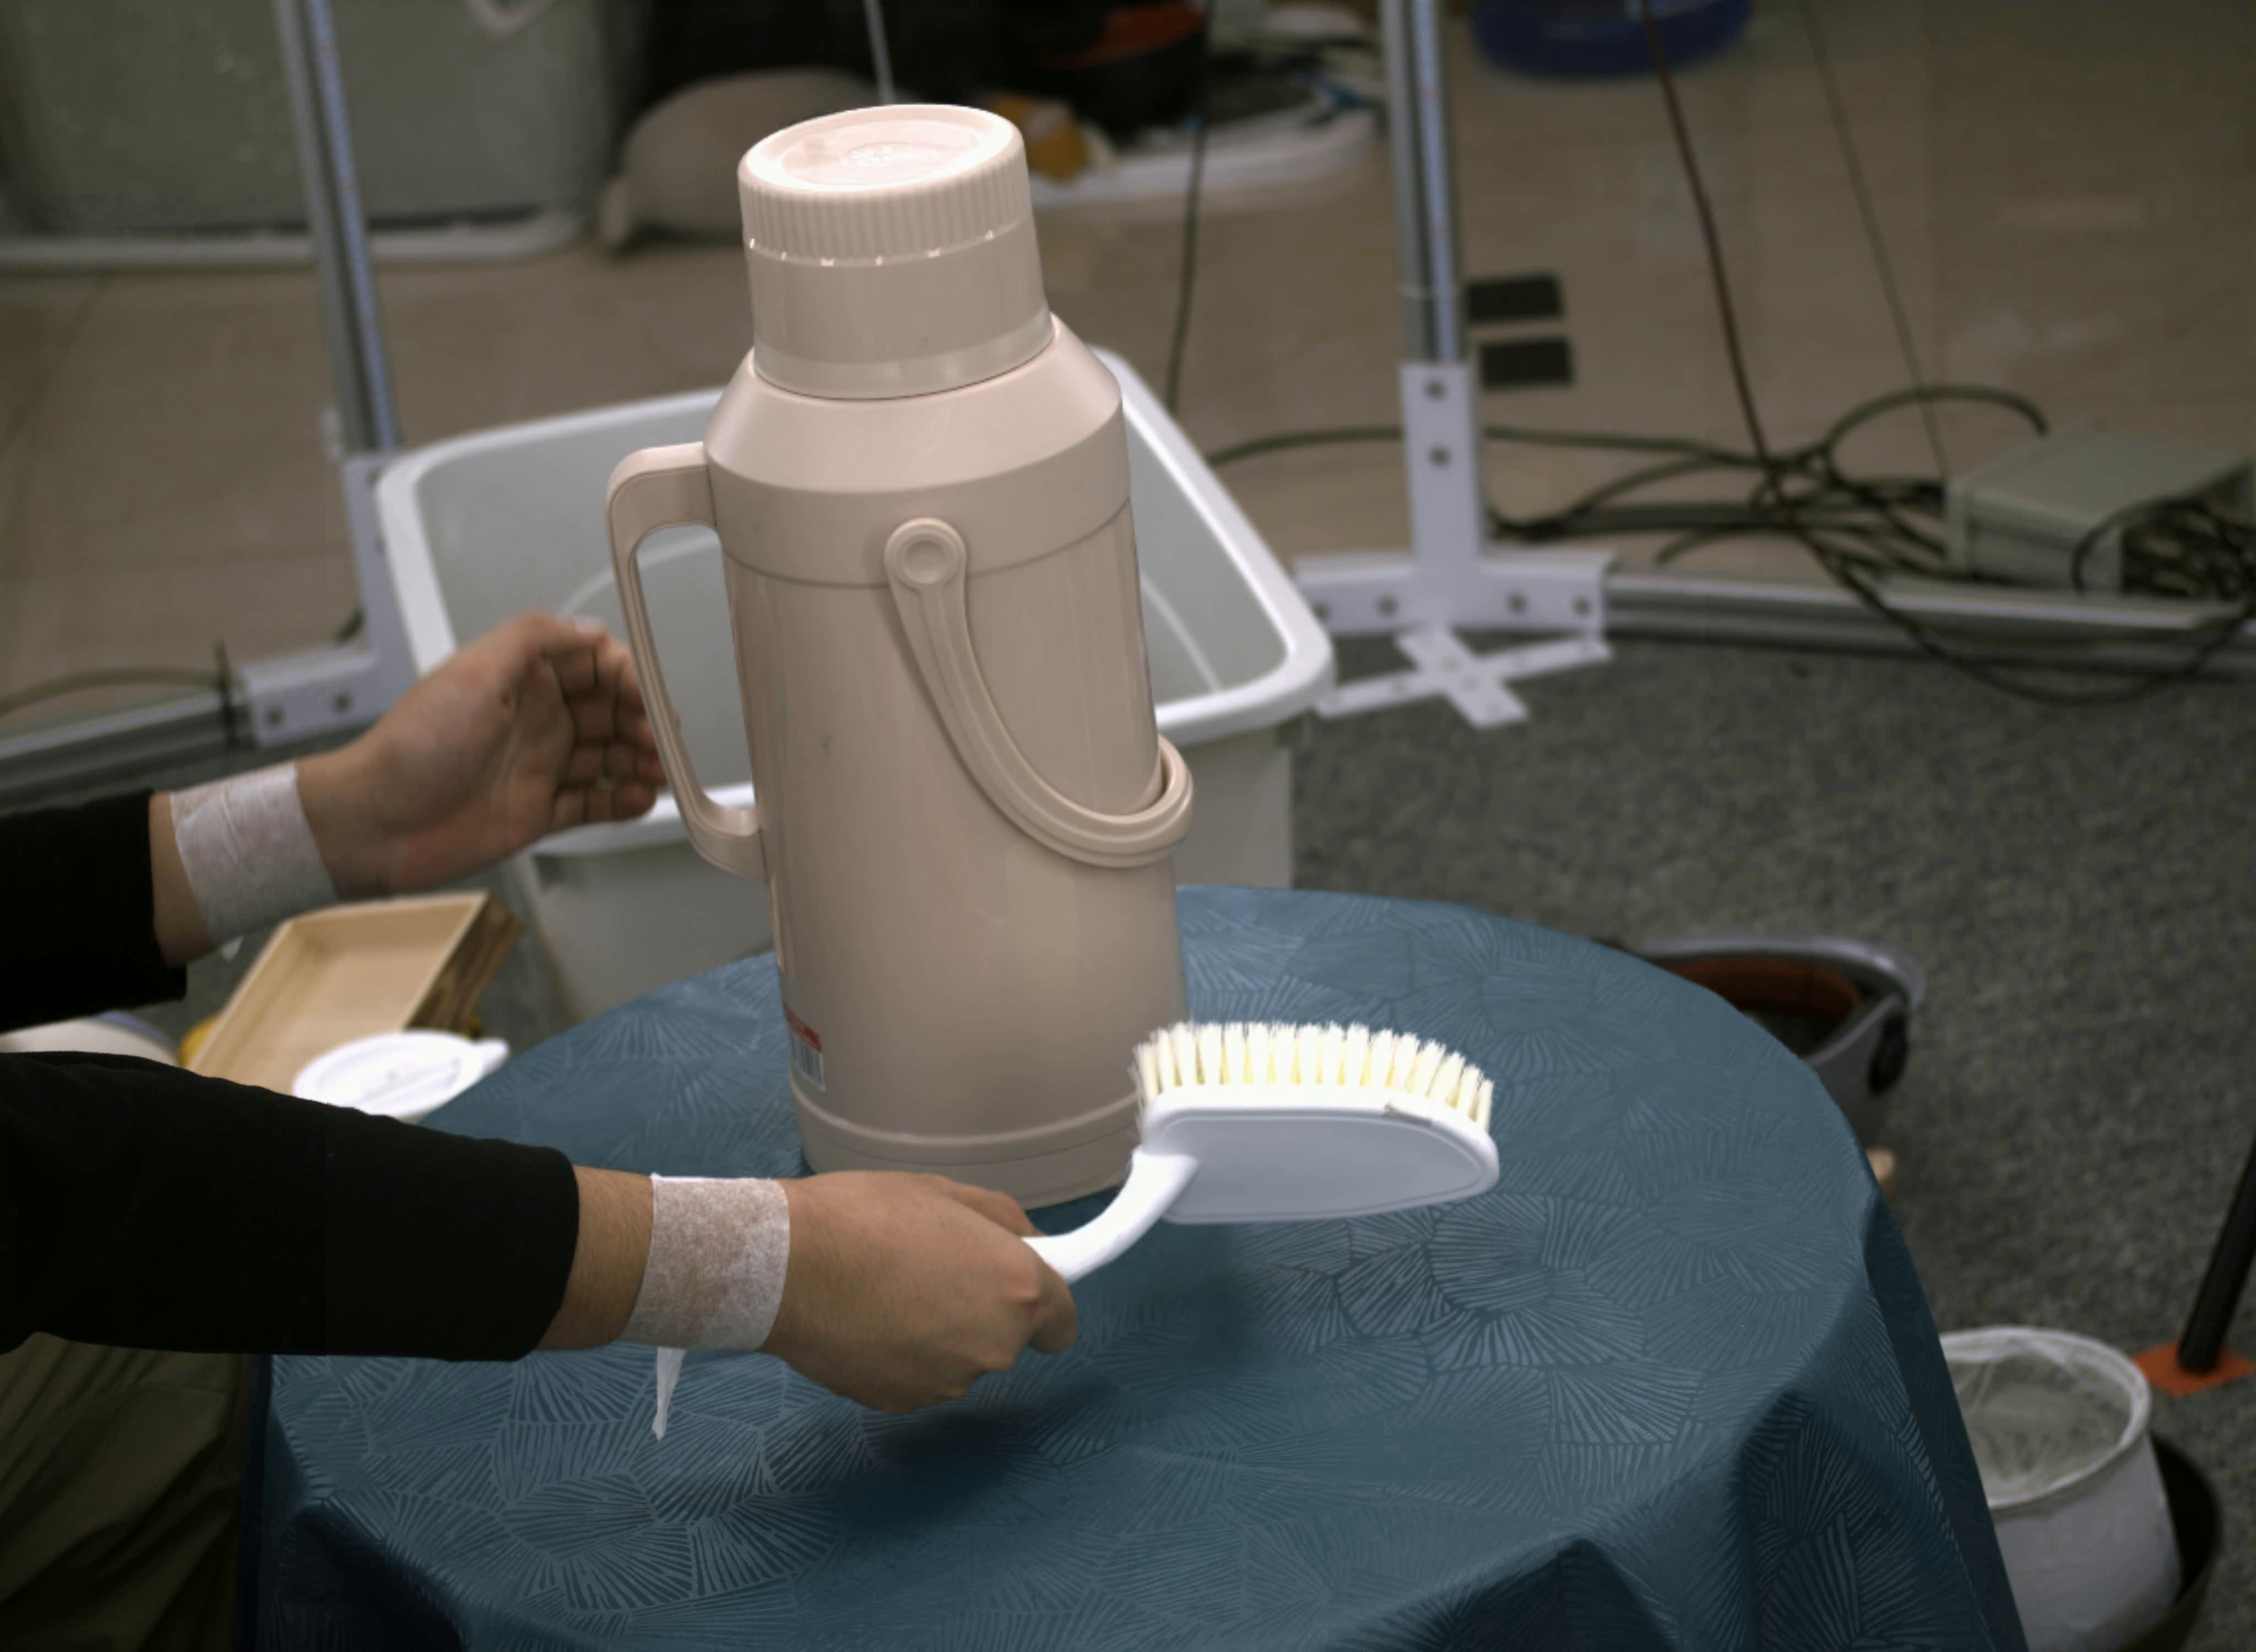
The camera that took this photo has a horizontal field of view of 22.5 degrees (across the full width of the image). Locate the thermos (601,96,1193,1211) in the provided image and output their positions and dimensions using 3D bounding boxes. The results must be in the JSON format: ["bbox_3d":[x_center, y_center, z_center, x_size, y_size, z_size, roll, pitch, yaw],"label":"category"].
[{"bbox_3d":[-0.085,-0.064,2.127,0.206,0.413,0.172,-7,27,-1],"label":"thermos"}]

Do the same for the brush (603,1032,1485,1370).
[{"bbox_3d":[-0.032,0.123,2.017,0.324,0.084,0.084,-9,11,-11],"label":"brush"}]
